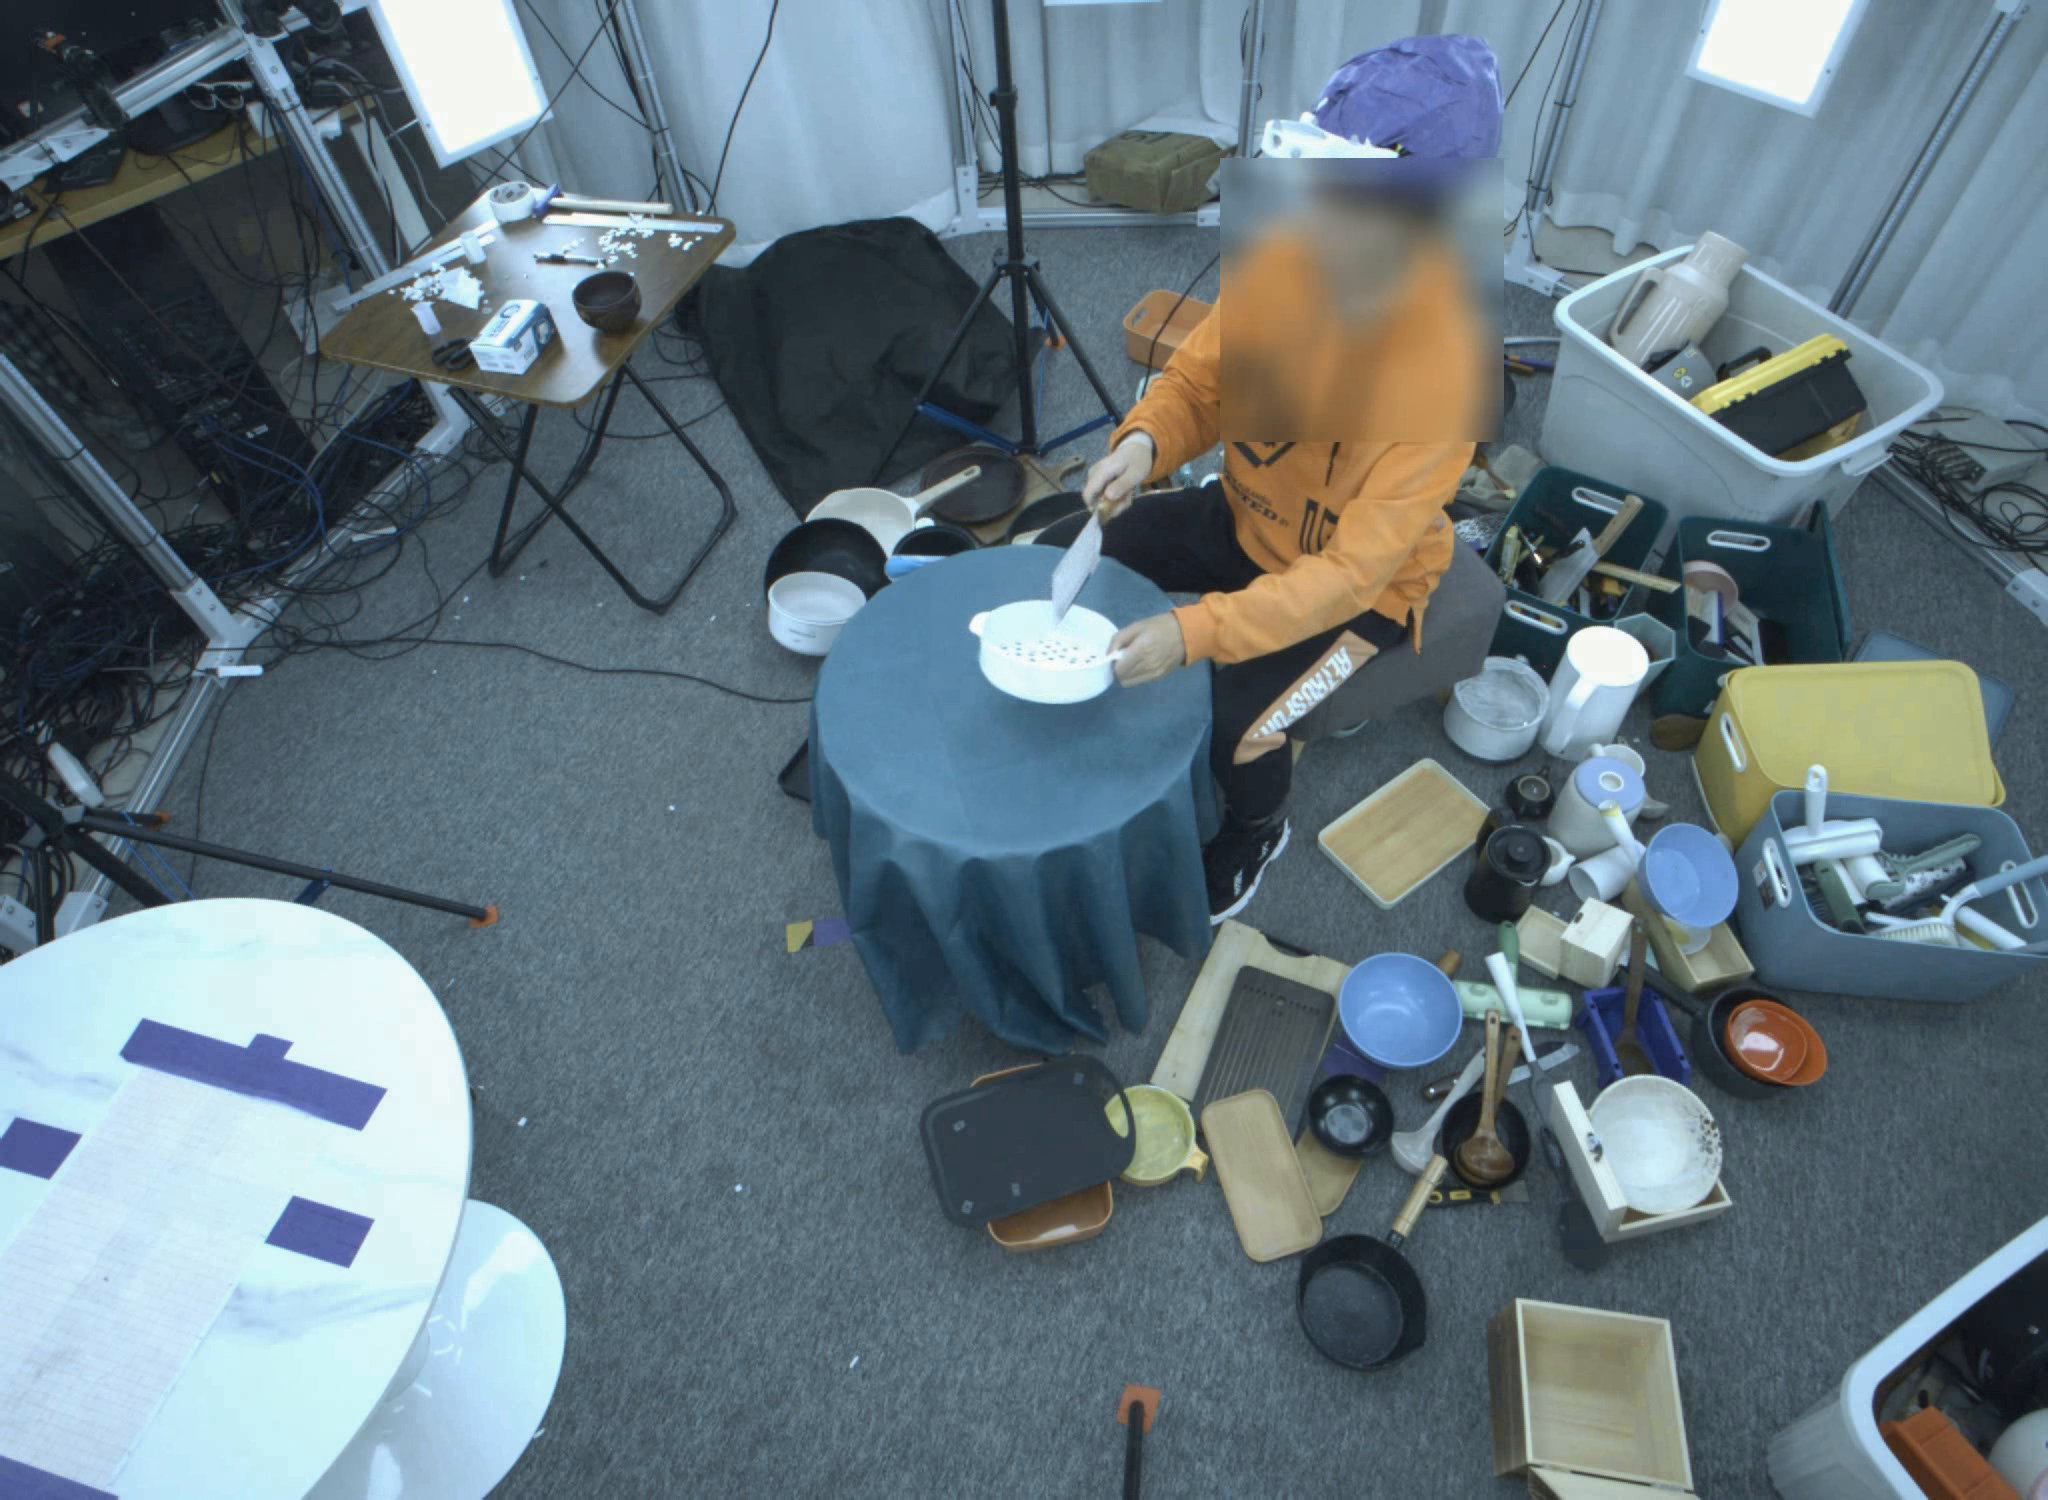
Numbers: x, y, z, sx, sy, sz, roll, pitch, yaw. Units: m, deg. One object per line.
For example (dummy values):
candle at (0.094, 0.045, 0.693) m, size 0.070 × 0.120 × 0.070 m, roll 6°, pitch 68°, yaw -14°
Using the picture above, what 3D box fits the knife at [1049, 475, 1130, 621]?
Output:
knife at (0.090, -0.280, 1.698) m, size 0.021 × 0.094 × 0.306 m, roll 13°, pitch 43°, yaw 18°

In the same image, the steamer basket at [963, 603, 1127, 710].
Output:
steamer basket at (0.028, -0.132, 1.737) m, size 0.229 × 0.070 × 0.201 m, roll 9°, pitch 36°, yaw 7°
